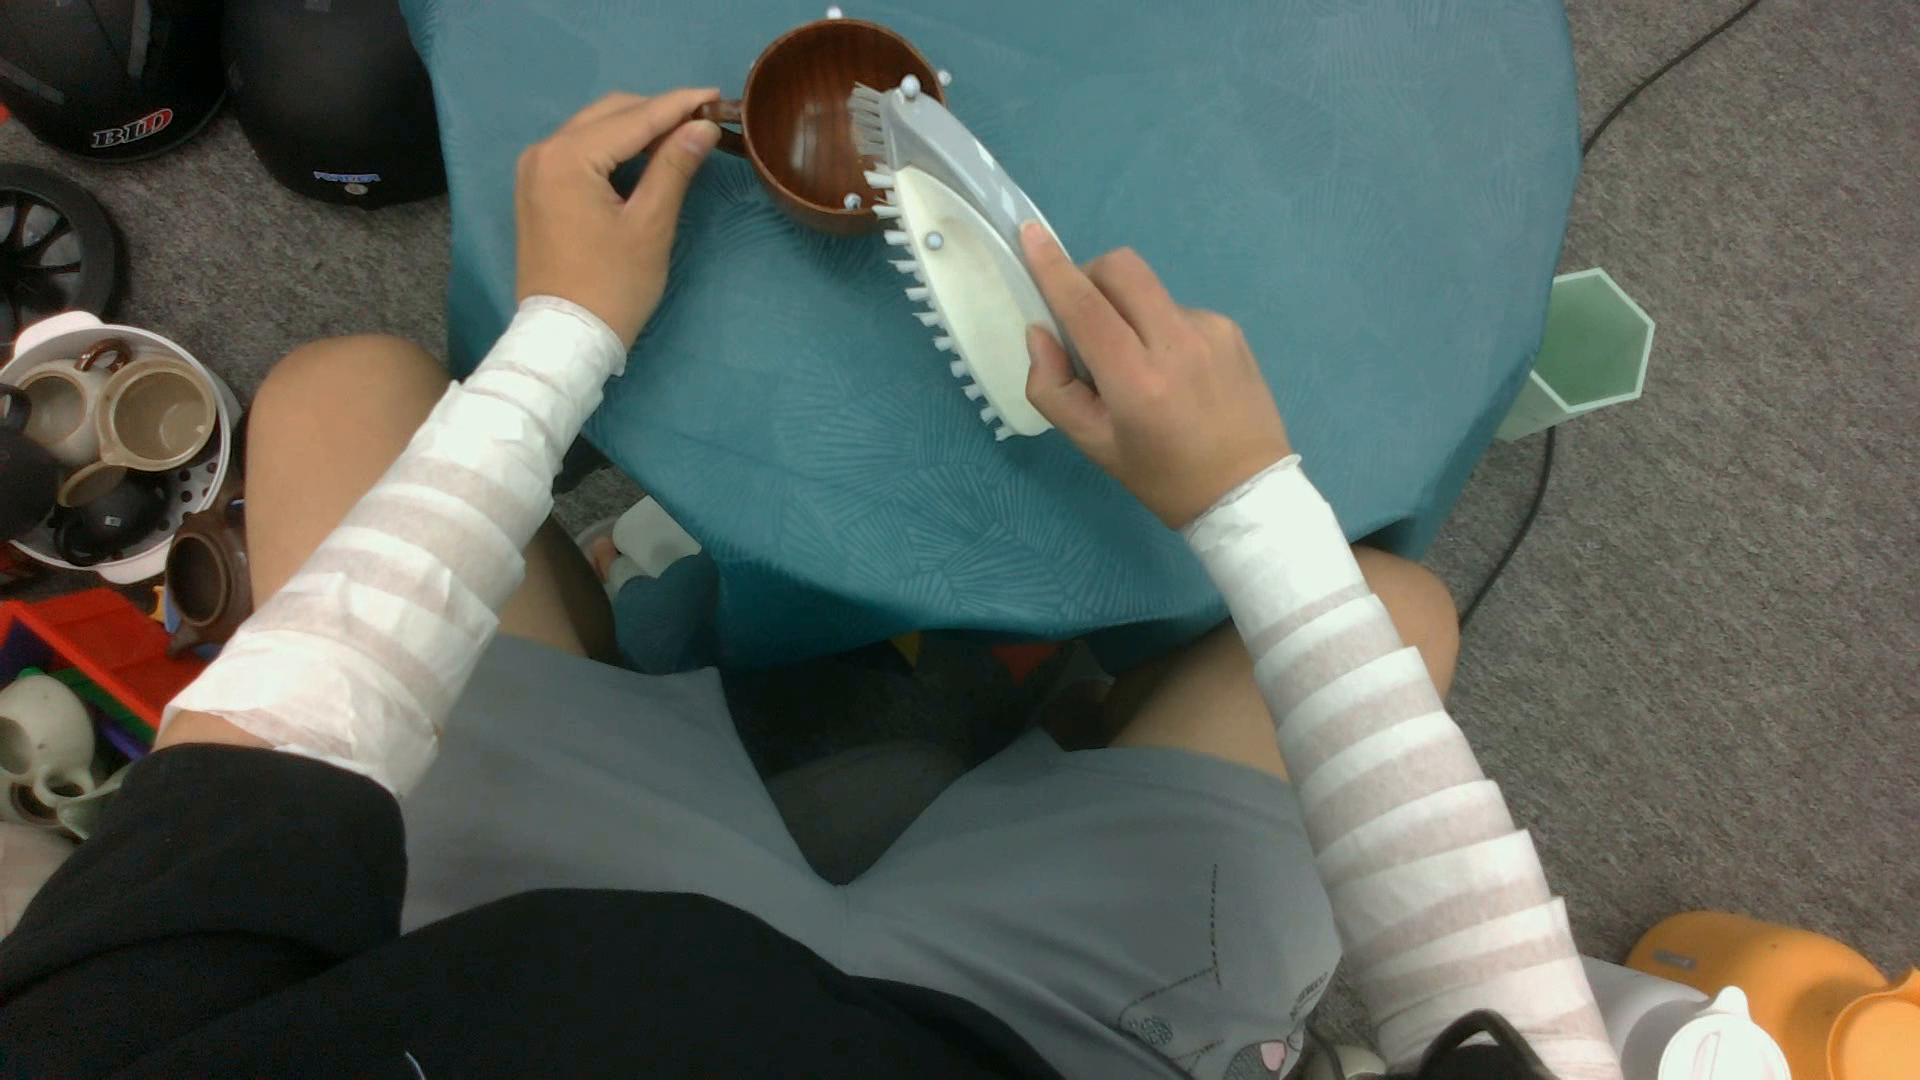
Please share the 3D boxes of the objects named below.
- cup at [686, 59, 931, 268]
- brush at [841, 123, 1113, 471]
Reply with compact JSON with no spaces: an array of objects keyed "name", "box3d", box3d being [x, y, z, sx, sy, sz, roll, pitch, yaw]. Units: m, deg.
[{"name":"cup","box3d":[-0.074,-0.180,0.683,0.119,0.067,0.096,-2,83,-4]},{"name":"brush","box3d":[0.011,-0.116,0.626,0.062,0.094,0.175,-39,106,-25]}]
